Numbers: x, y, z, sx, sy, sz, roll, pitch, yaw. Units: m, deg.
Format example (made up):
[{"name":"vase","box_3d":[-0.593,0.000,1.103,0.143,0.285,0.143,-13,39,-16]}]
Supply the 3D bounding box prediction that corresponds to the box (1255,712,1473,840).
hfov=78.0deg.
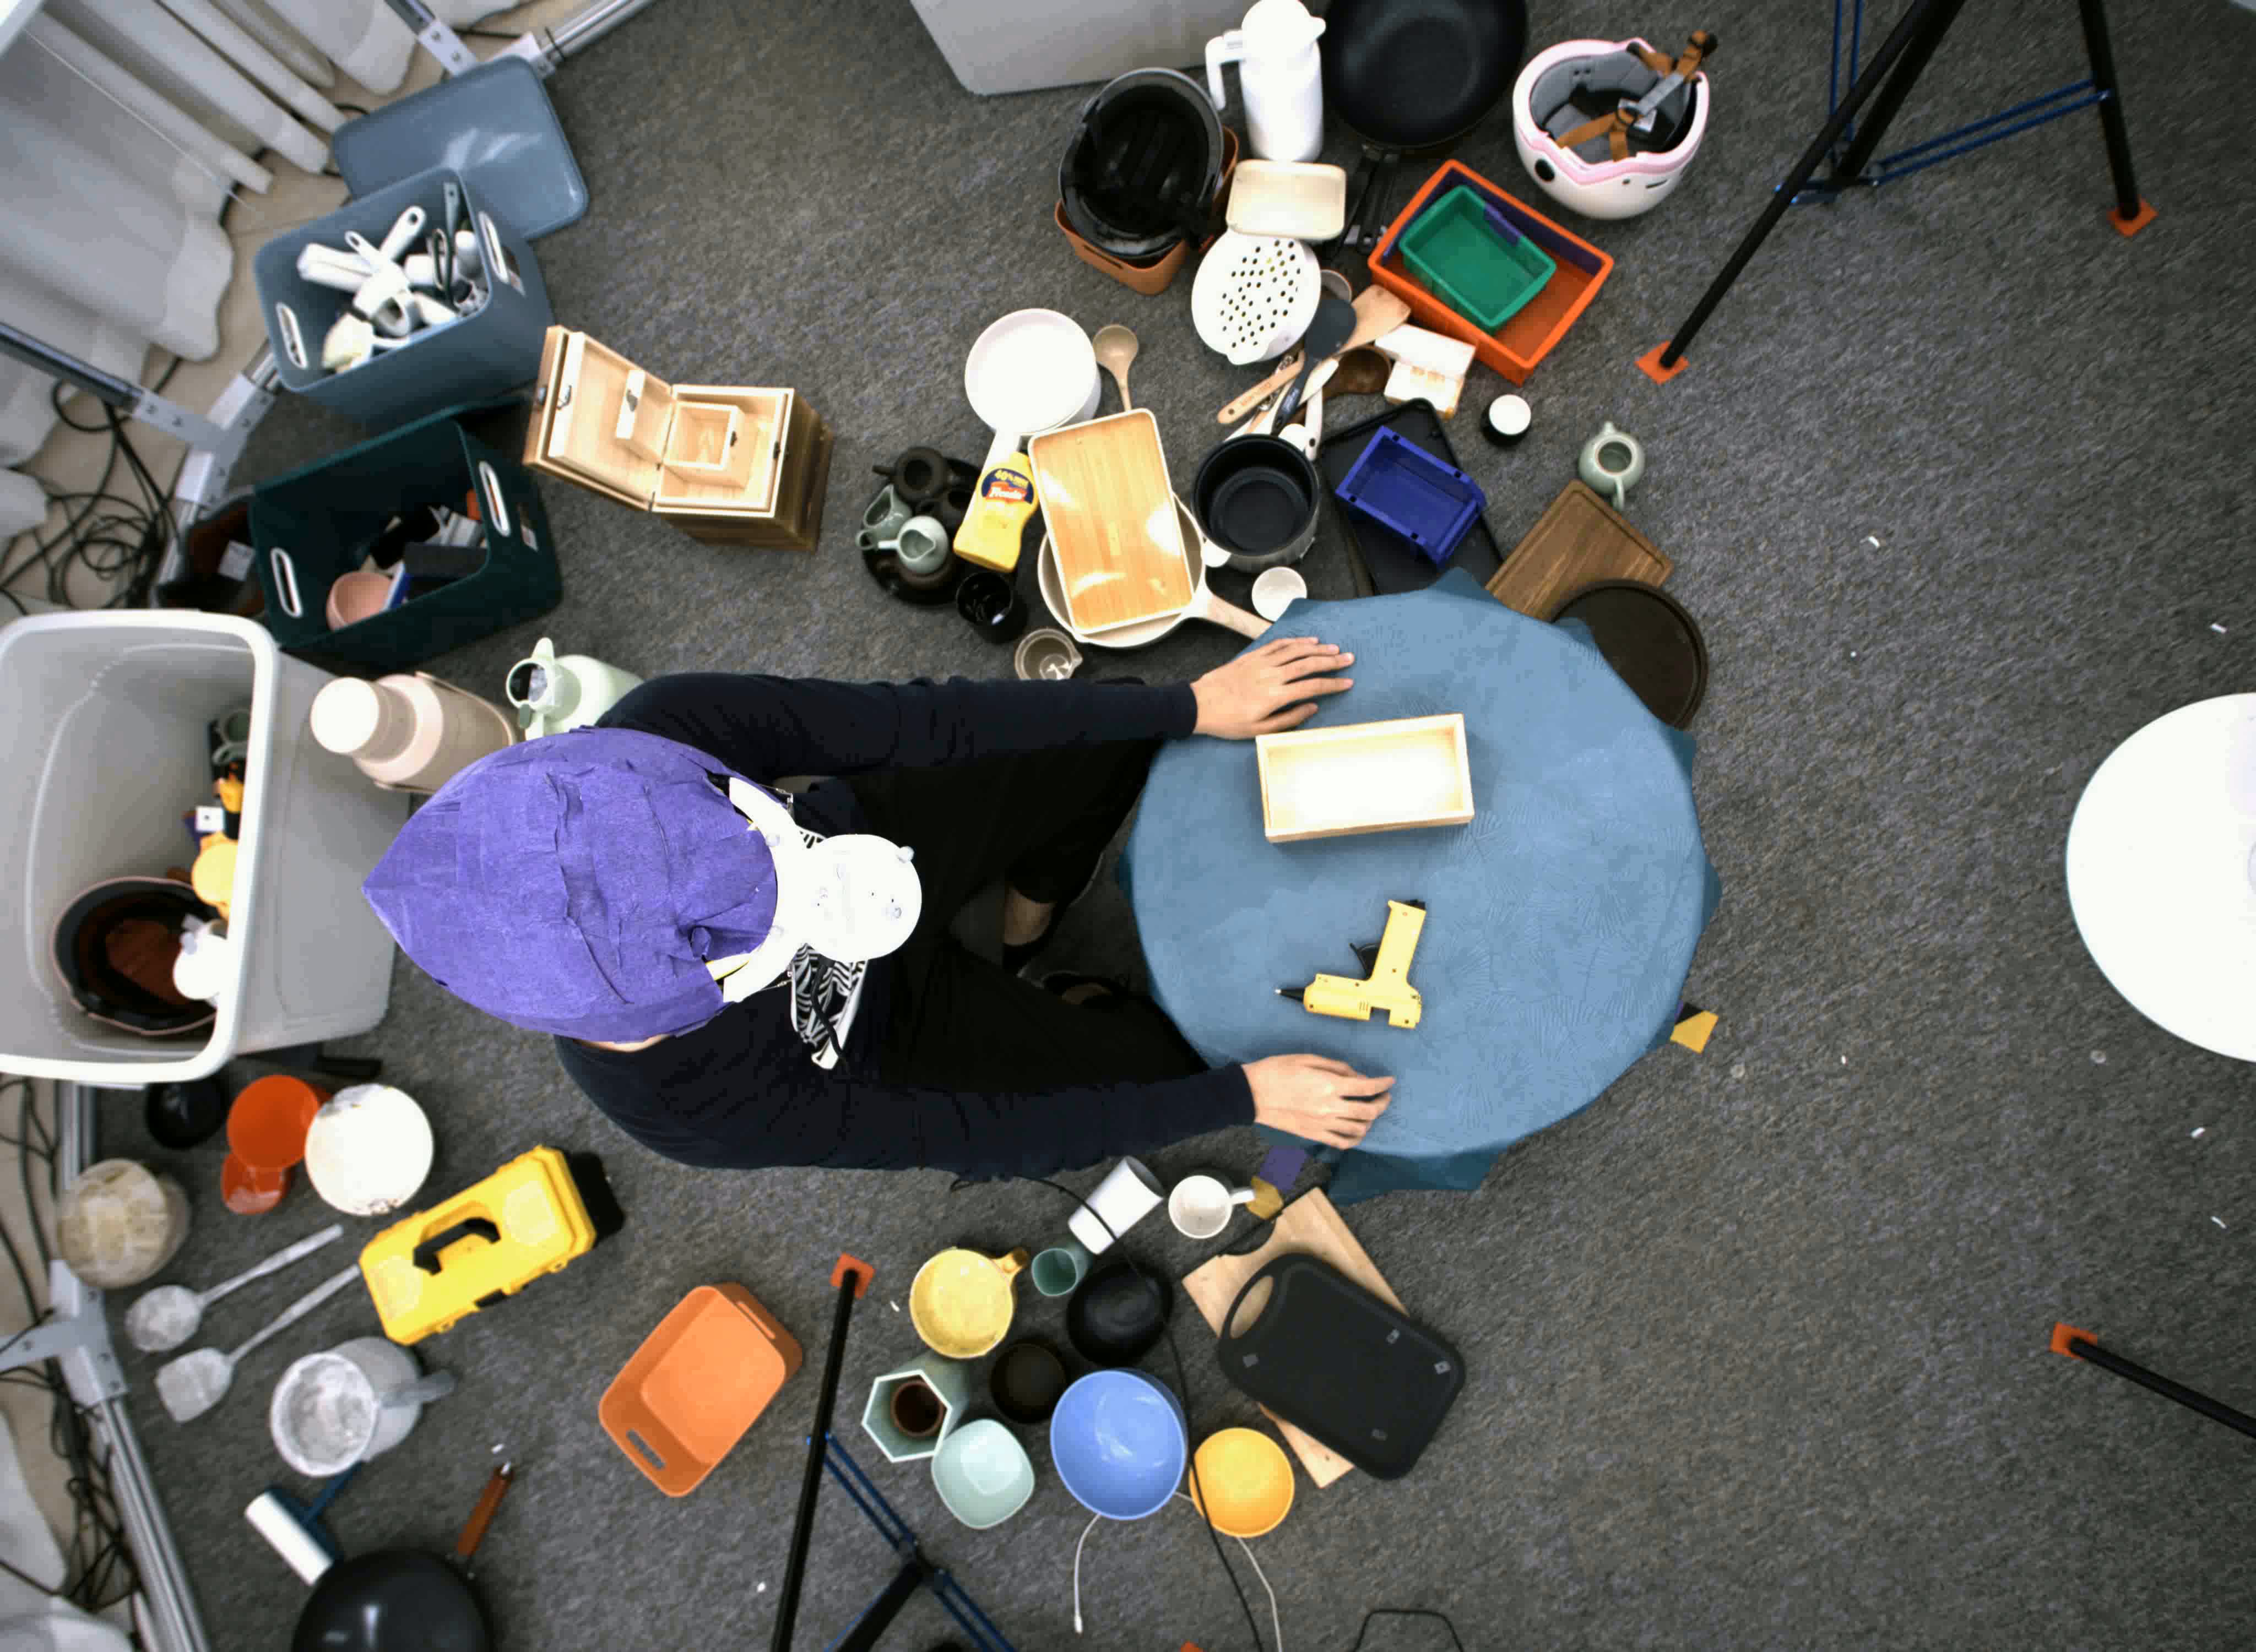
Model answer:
[{"name":"box","box_3d":[0.244,-0.051,1.431,0.212,0.080,0.107,-6,84,9]}]

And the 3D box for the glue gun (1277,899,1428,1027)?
[{"name":"glue gun","box_3d":[0.234,0.137,1.449,0.152,0.031,0.132,3,86,10]}]
